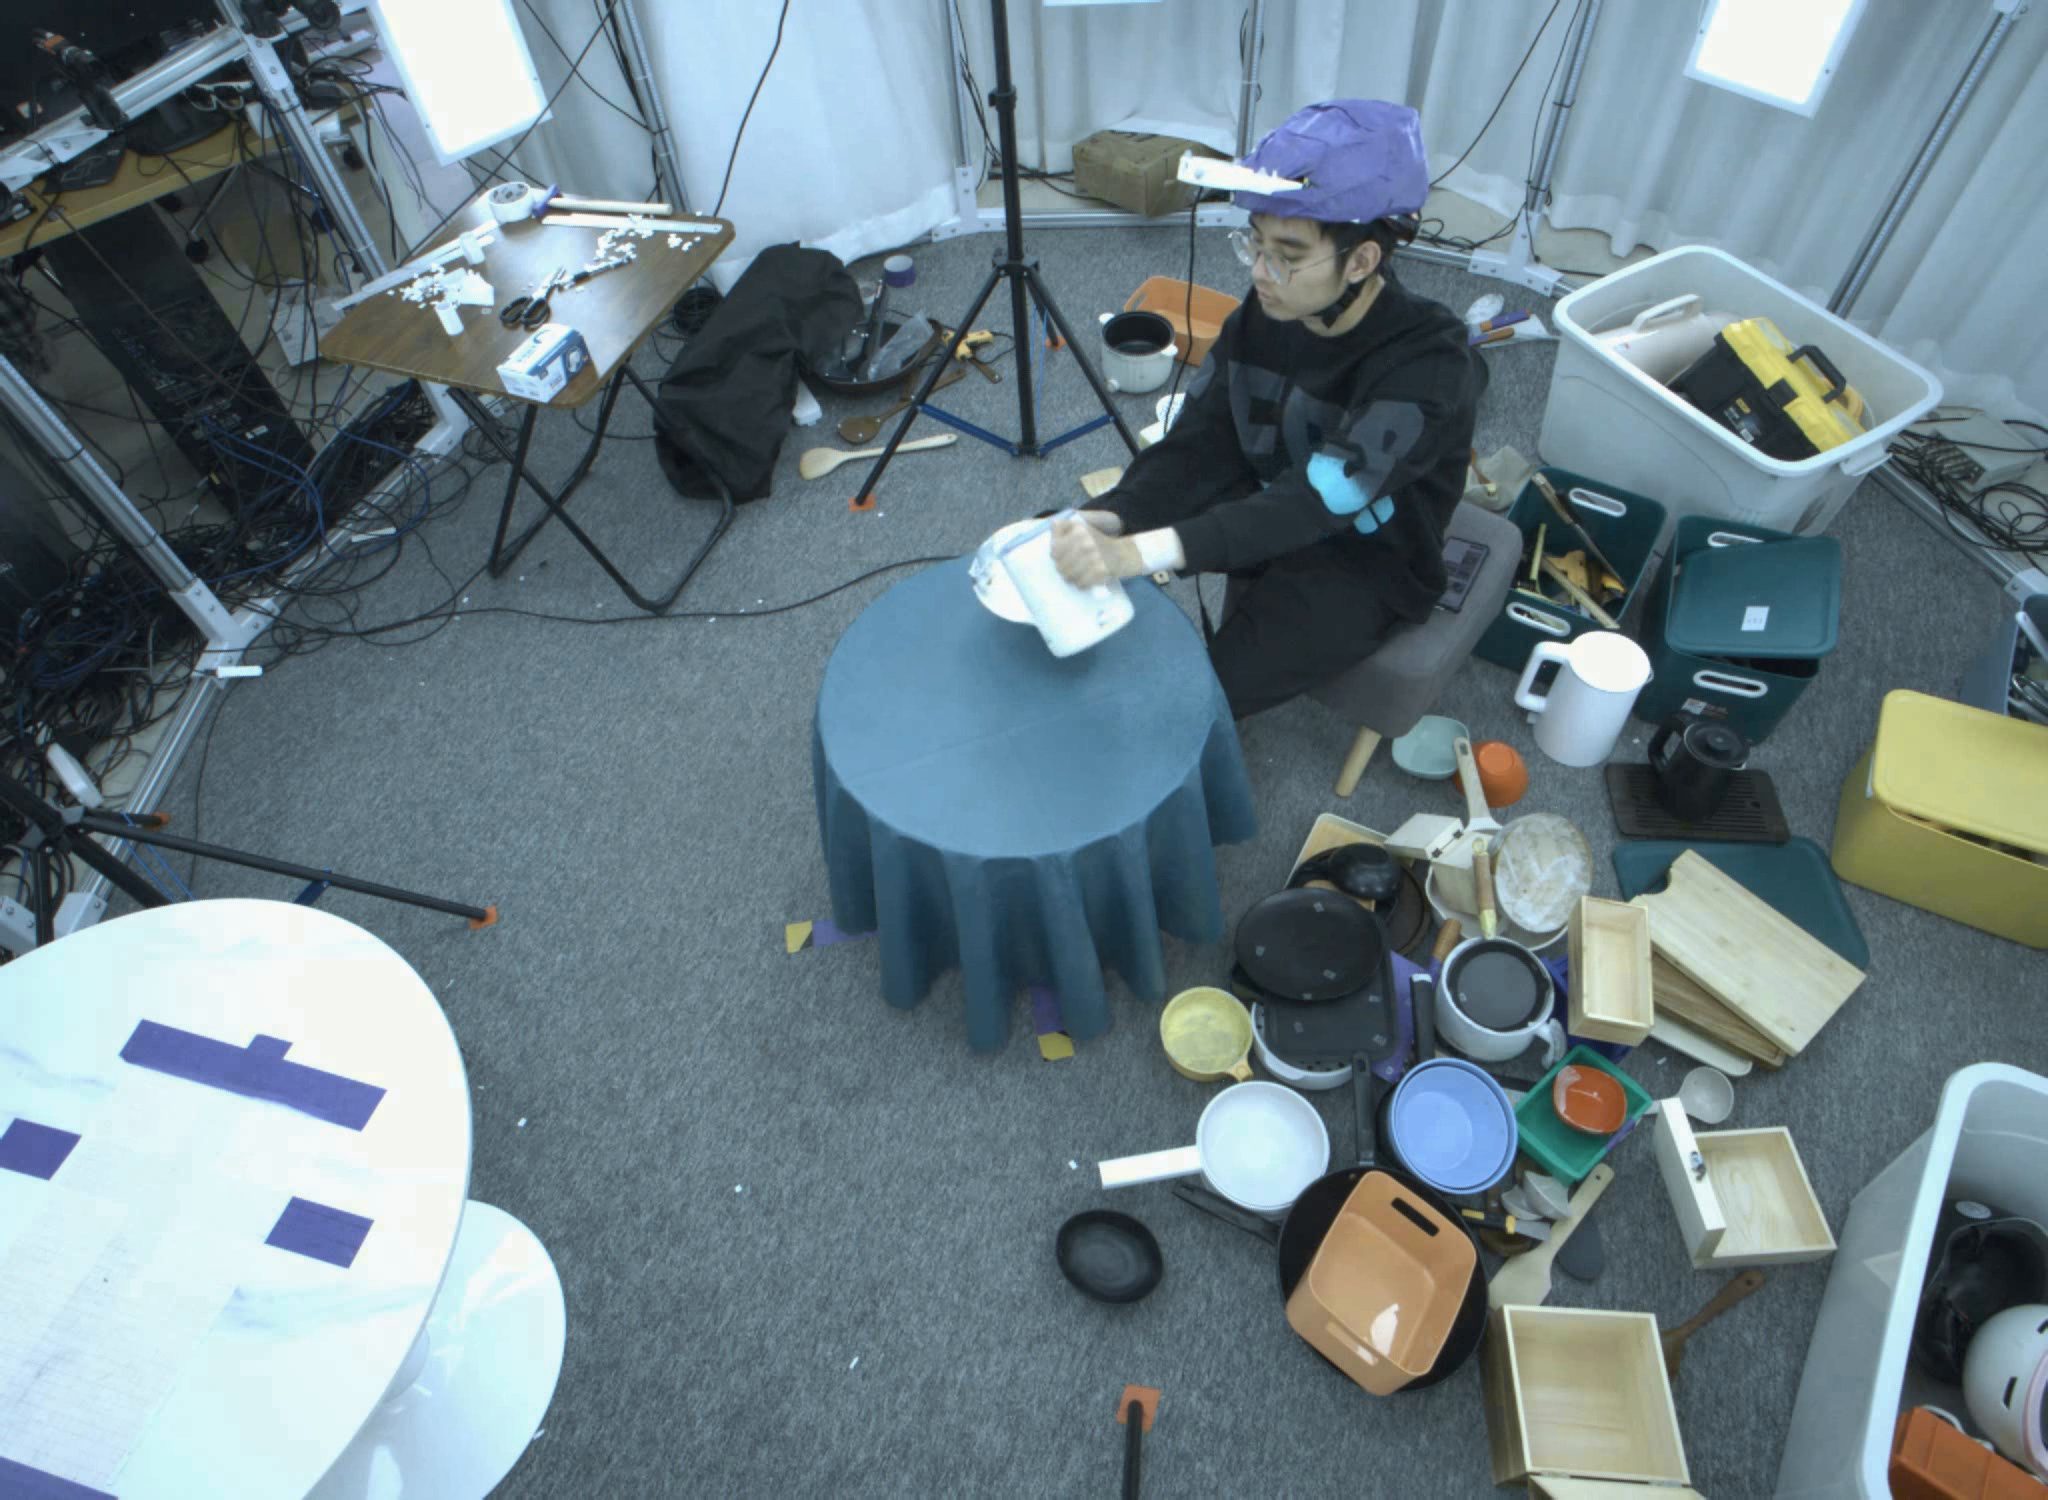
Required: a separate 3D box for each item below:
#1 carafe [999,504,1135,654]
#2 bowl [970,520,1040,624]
[{"bbox_3d":[0.065,-0.235,1.677,0.133,0.188,0.184,-34,103,-14],"label":"carafe"},{"bbox_3d":[0.020,-0.251,1.877,0.204,0.078,0.202,2,58,-1],"label":"bowl"}]
